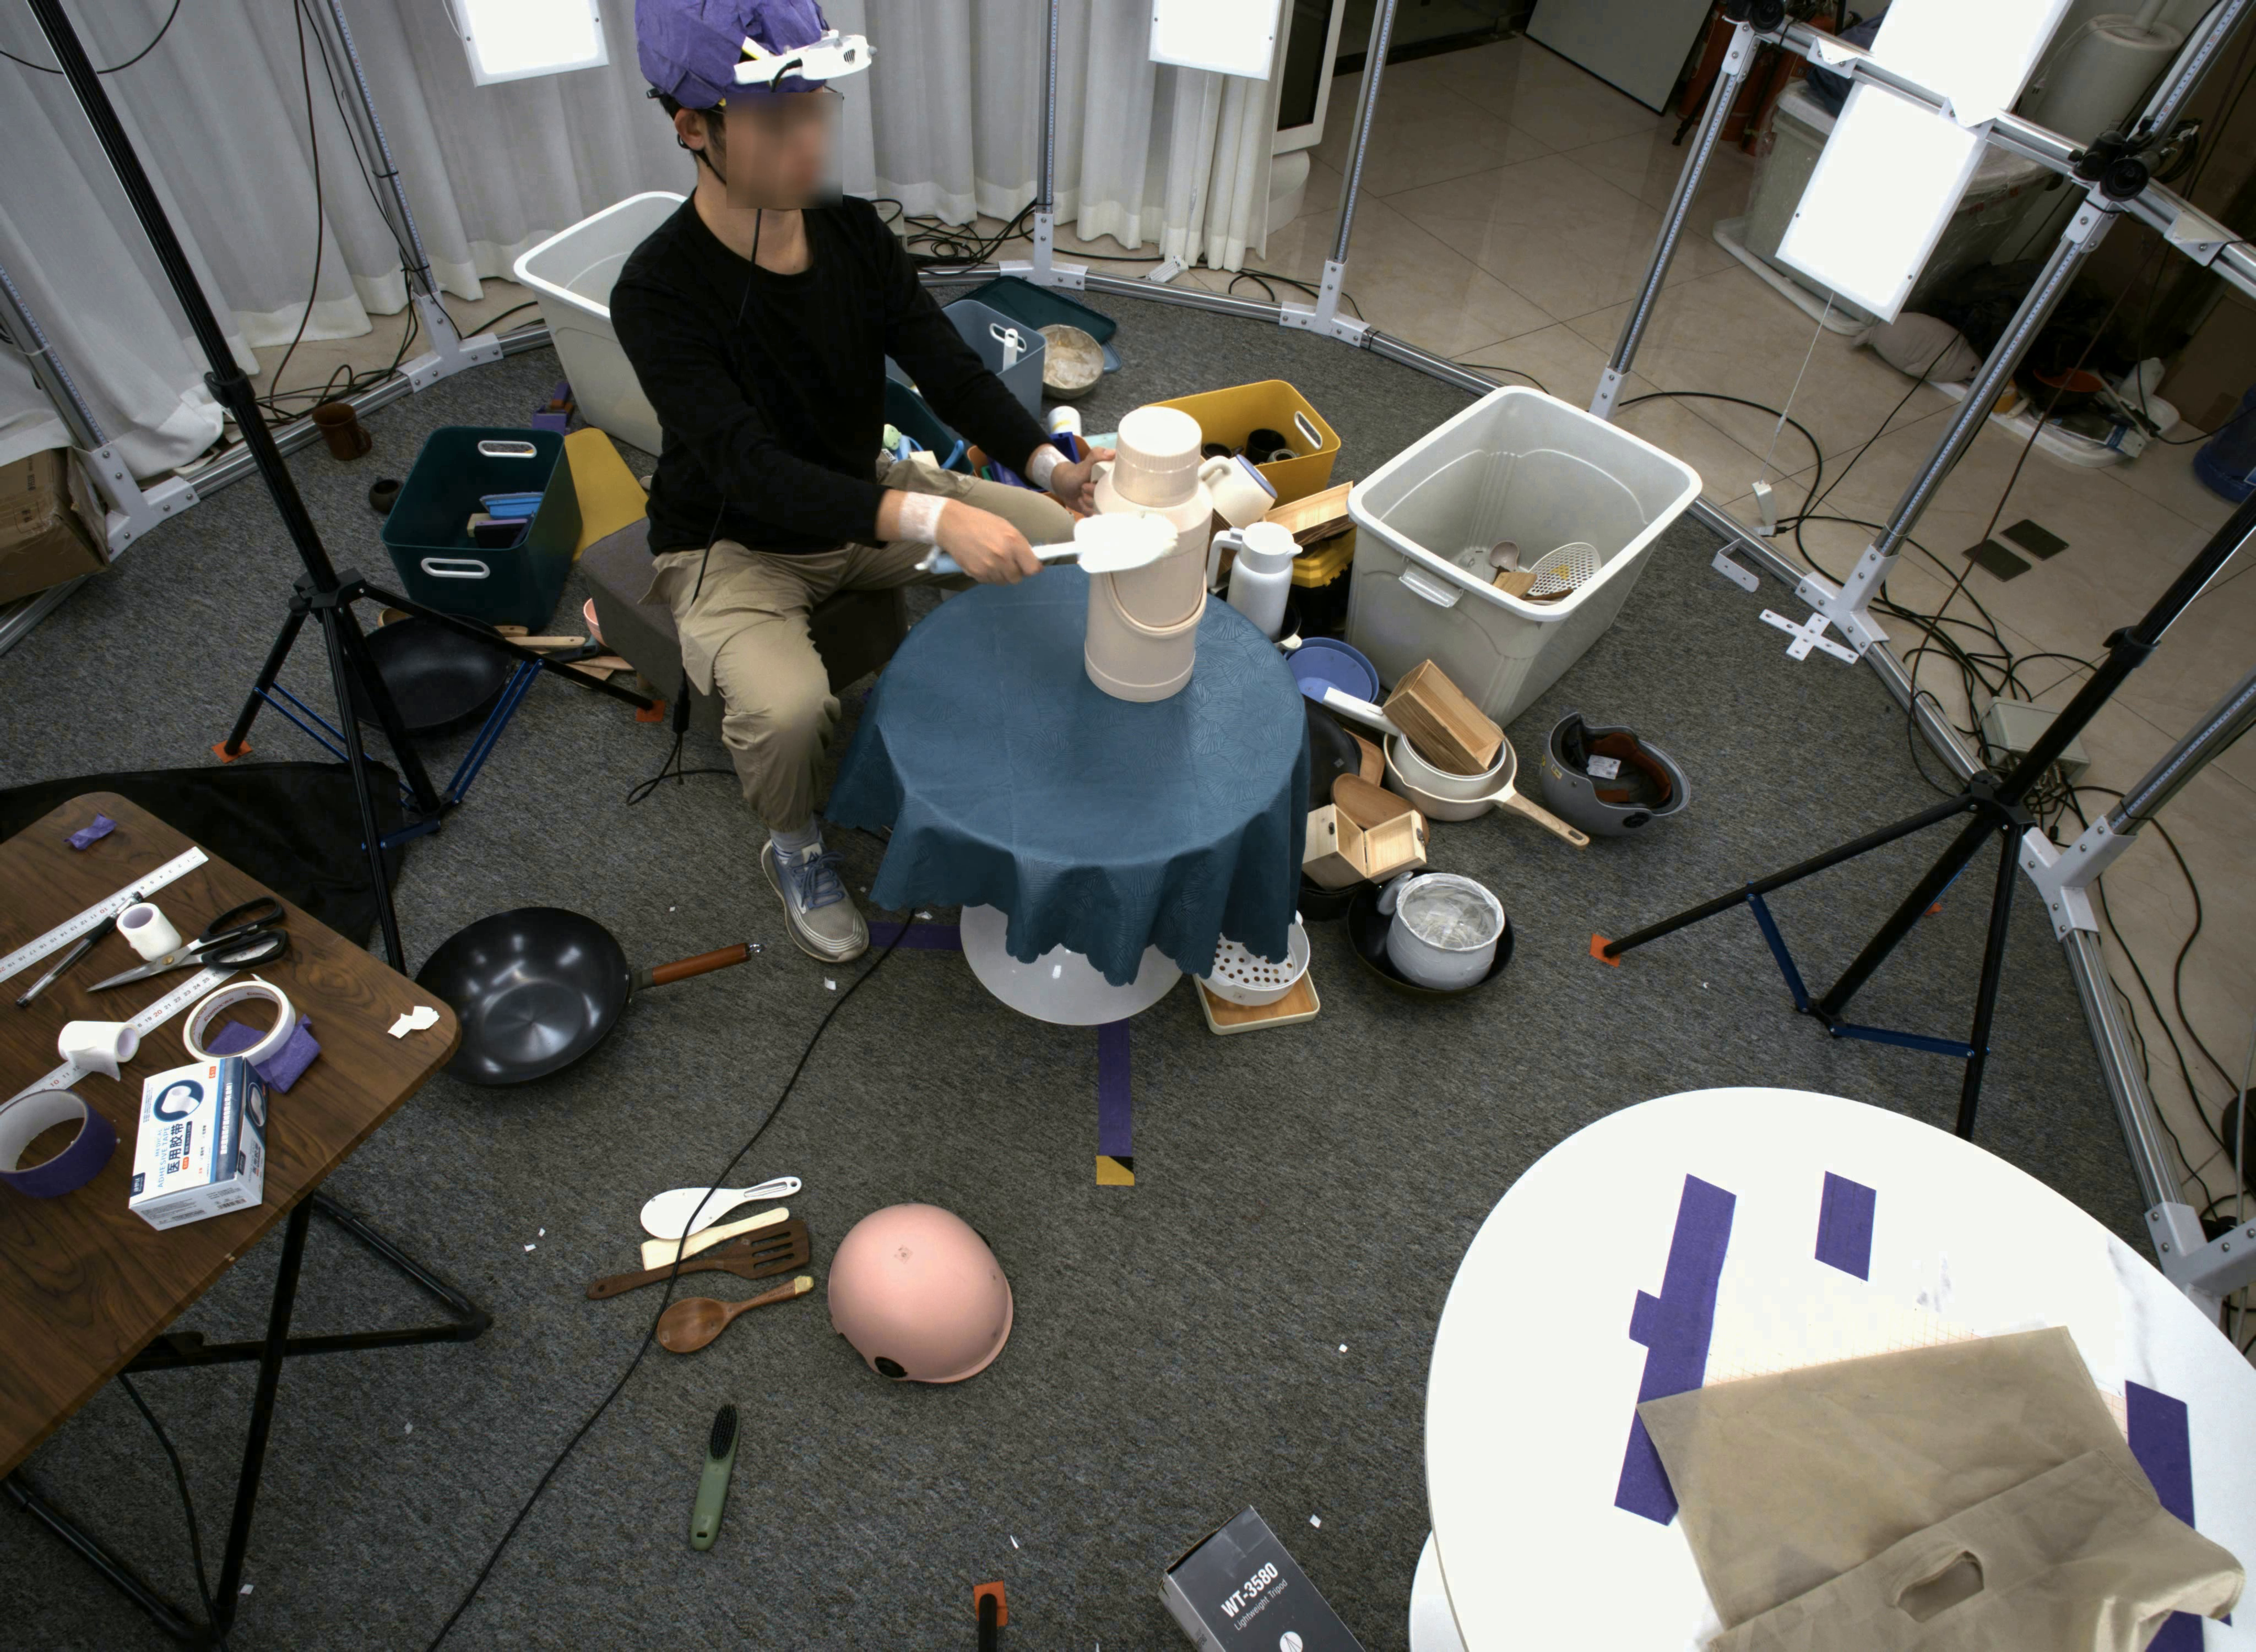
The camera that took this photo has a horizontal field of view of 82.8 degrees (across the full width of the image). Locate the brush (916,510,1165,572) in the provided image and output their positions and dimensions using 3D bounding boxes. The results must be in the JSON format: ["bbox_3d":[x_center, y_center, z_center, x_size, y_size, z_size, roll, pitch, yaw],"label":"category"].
[{"bbox_3d":[-0.109,-0.354,1.625,0.326,0.083,0.084,-3,64,18],"label":"brush"}]

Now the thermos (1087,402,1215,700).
[{"bbox_3d":[0.021,-0.373,1.739,0.176,0.396,0.211,-30,58,-25],"label":"thermos"}]
